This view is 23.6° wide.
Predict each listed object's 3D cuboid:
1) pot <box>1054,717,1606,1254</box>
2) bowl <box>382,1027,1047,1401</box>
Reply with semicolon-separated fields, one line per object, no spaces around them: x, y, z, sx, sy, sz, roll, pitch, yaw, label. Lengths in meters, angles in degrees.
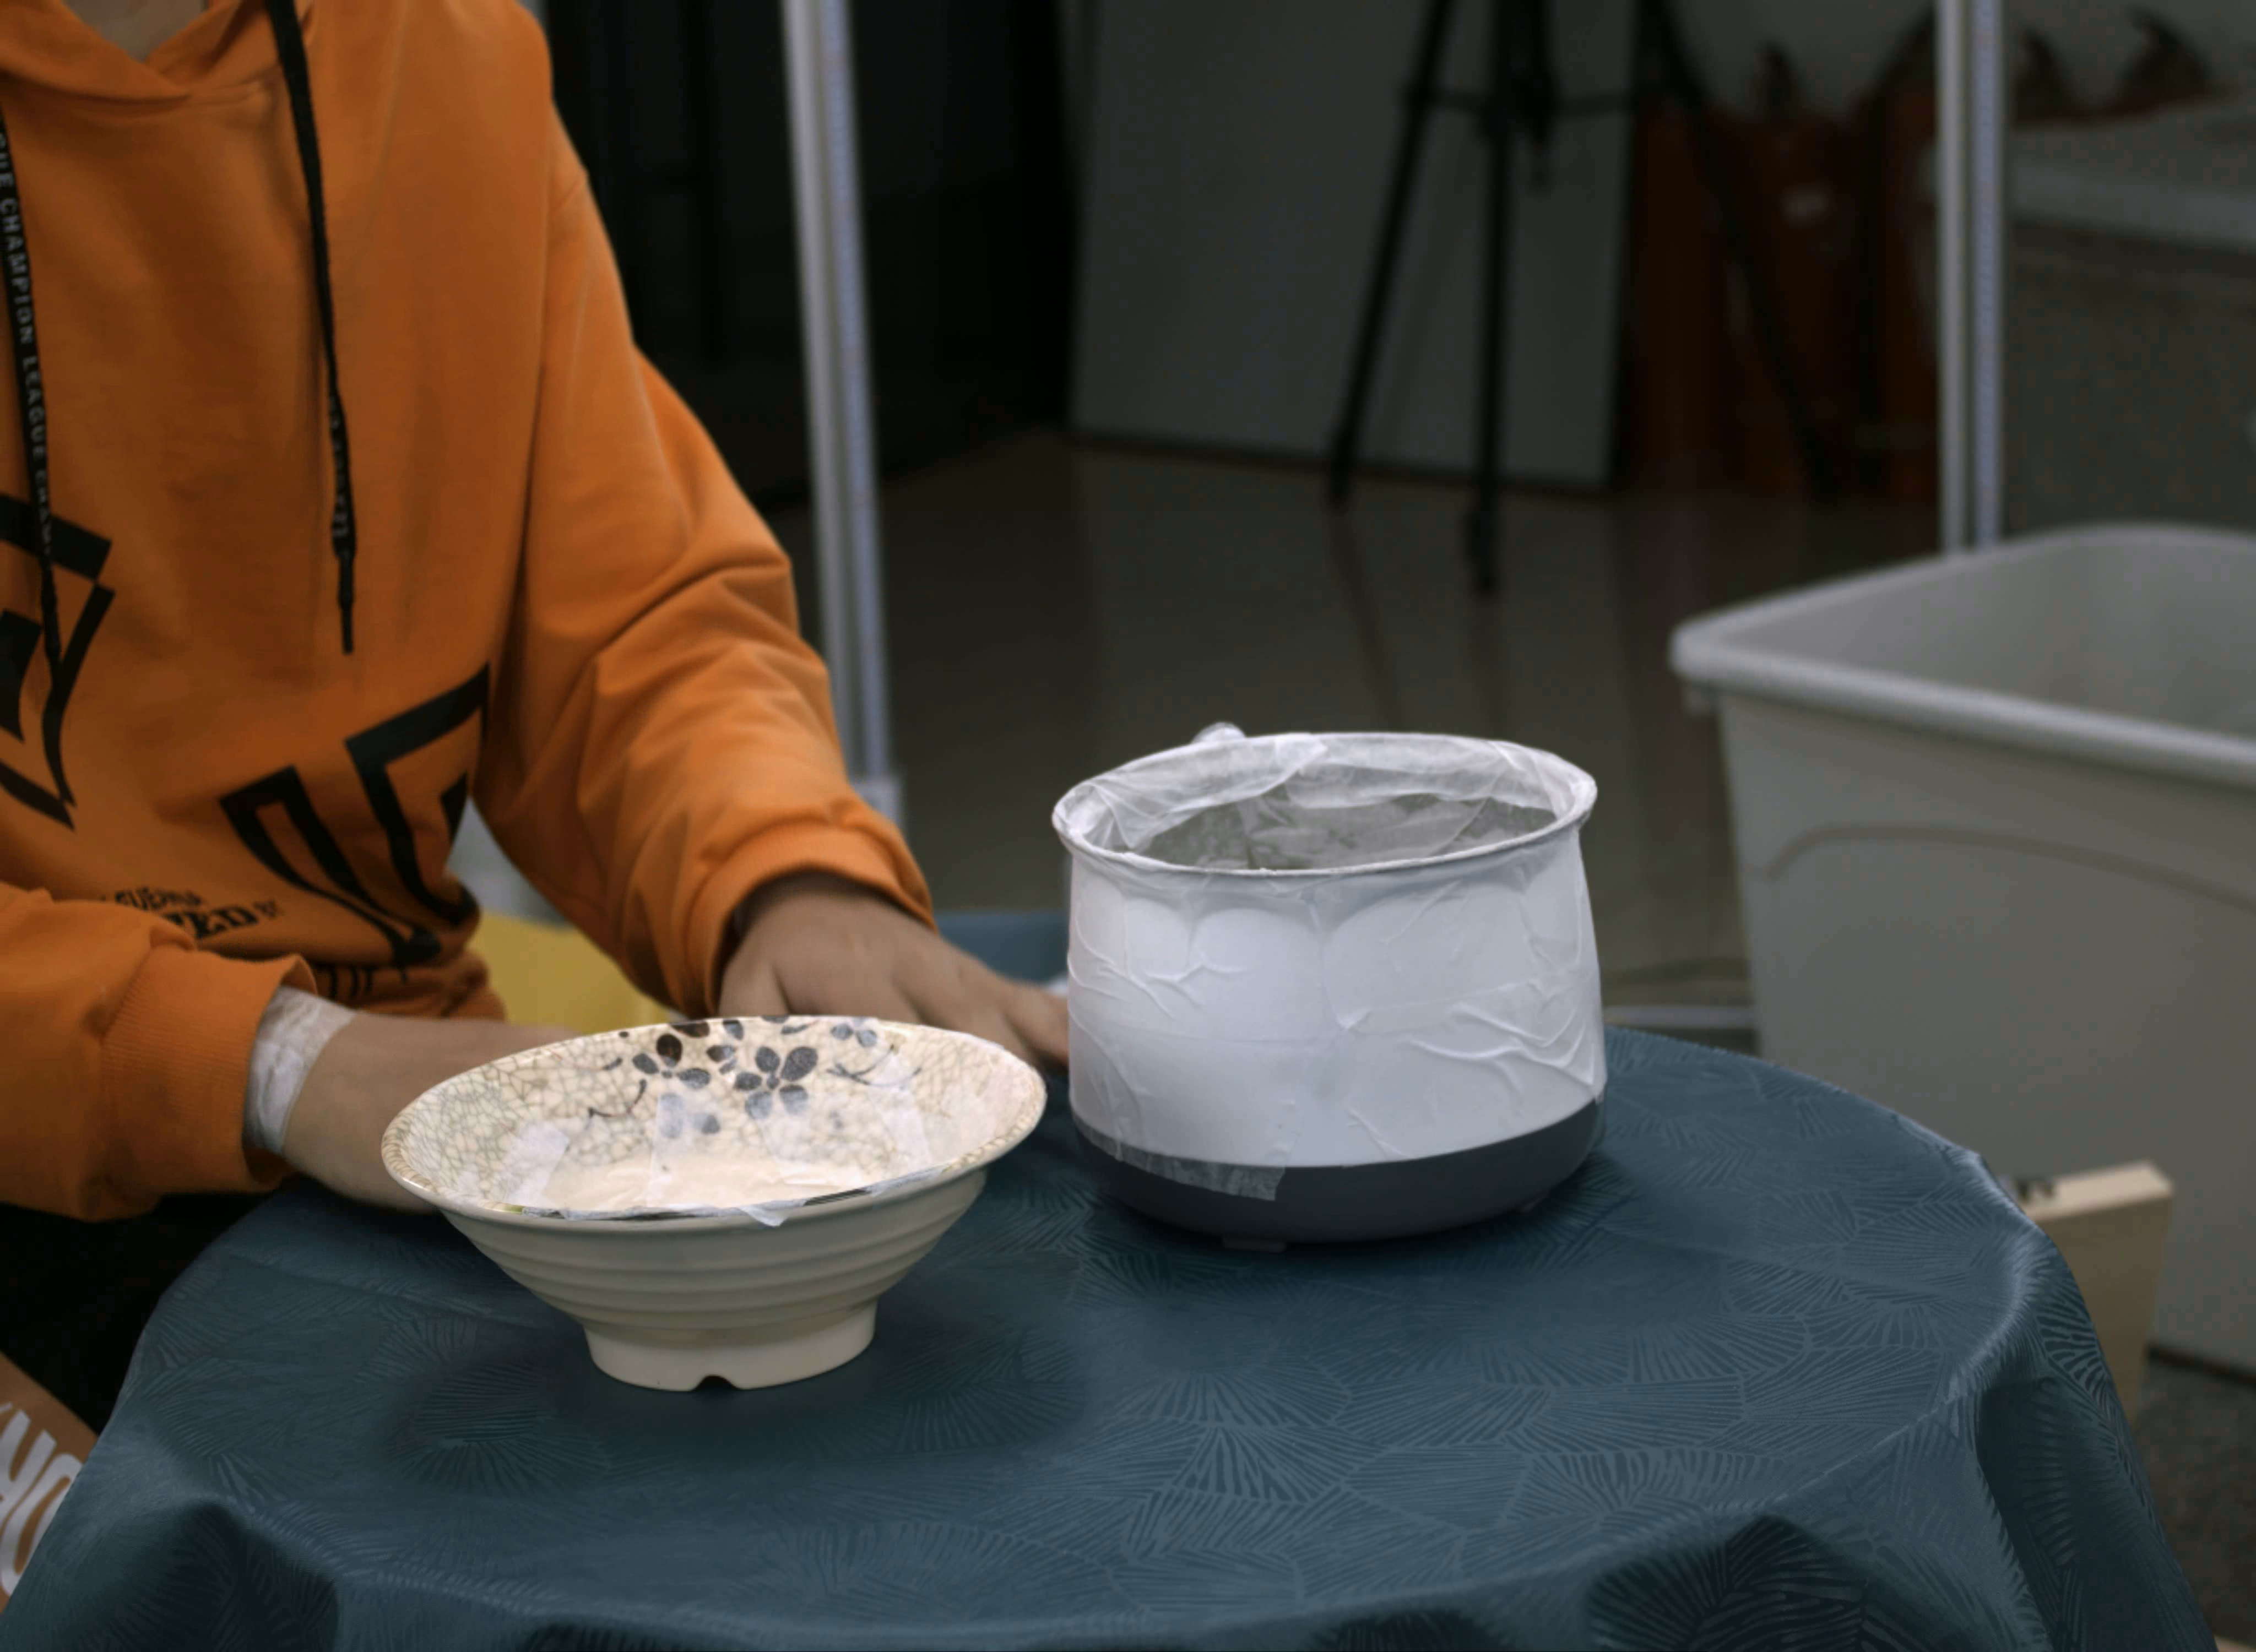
0.057;0.046;1.771;0.175;0.138;0.236;-8;14;-18;pot
-0.121;0.124;1.640;0.201;0.079;0.204;-5;12;0;bowl
